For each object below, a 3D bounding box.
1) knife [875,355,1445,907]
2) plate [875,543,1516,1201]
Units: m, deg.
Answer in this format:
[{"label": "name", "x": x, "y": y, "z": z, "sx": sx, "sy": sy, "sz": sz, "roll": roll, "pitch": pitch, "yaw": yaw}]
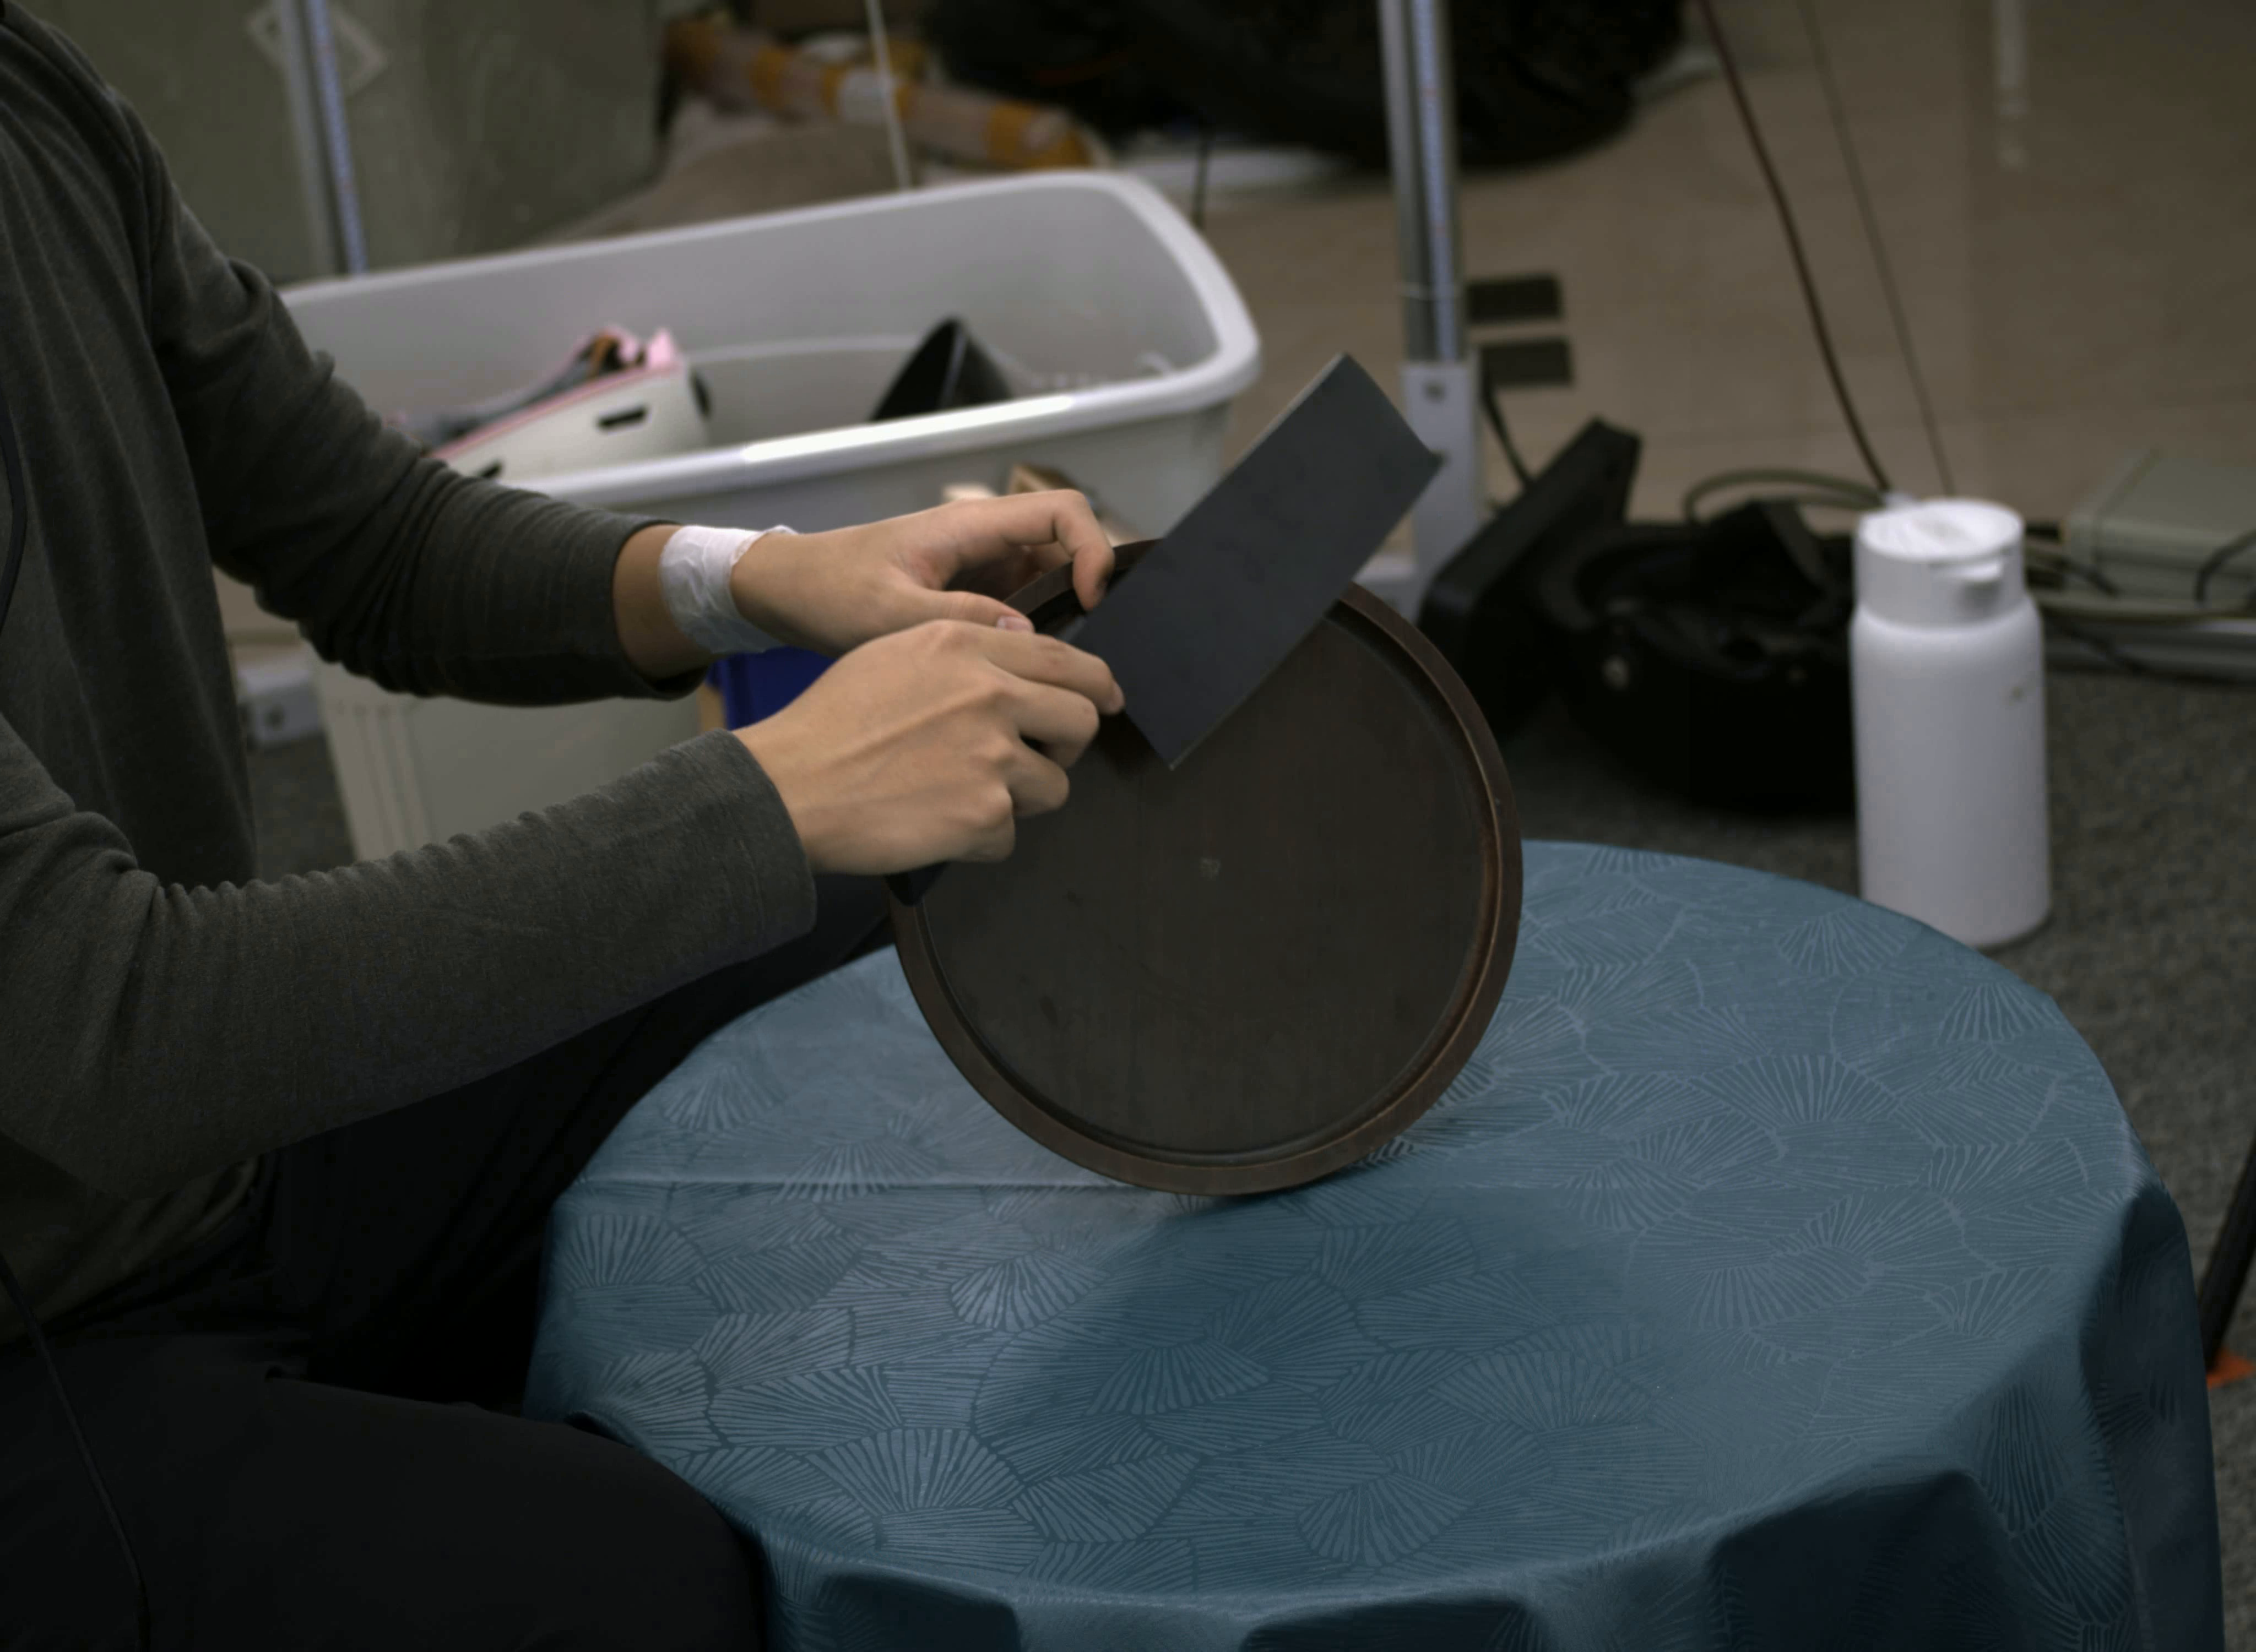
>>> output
[{"label": "knife", "x": 0.013, "y": -0.068, "z": 2.117, "sx": 0.299, "sy": 0.081, "sz": 0.021, "roll": -41, "pitch": 14, "yaw": -28}, {"label": "plate", "x": 0.026, "y": 0.017, "z": 2.148, "sx": 0.254, "sy": 0.255, "sz": 0.029, "roll": -15, "pitch": -1, "yaw": -17}]
